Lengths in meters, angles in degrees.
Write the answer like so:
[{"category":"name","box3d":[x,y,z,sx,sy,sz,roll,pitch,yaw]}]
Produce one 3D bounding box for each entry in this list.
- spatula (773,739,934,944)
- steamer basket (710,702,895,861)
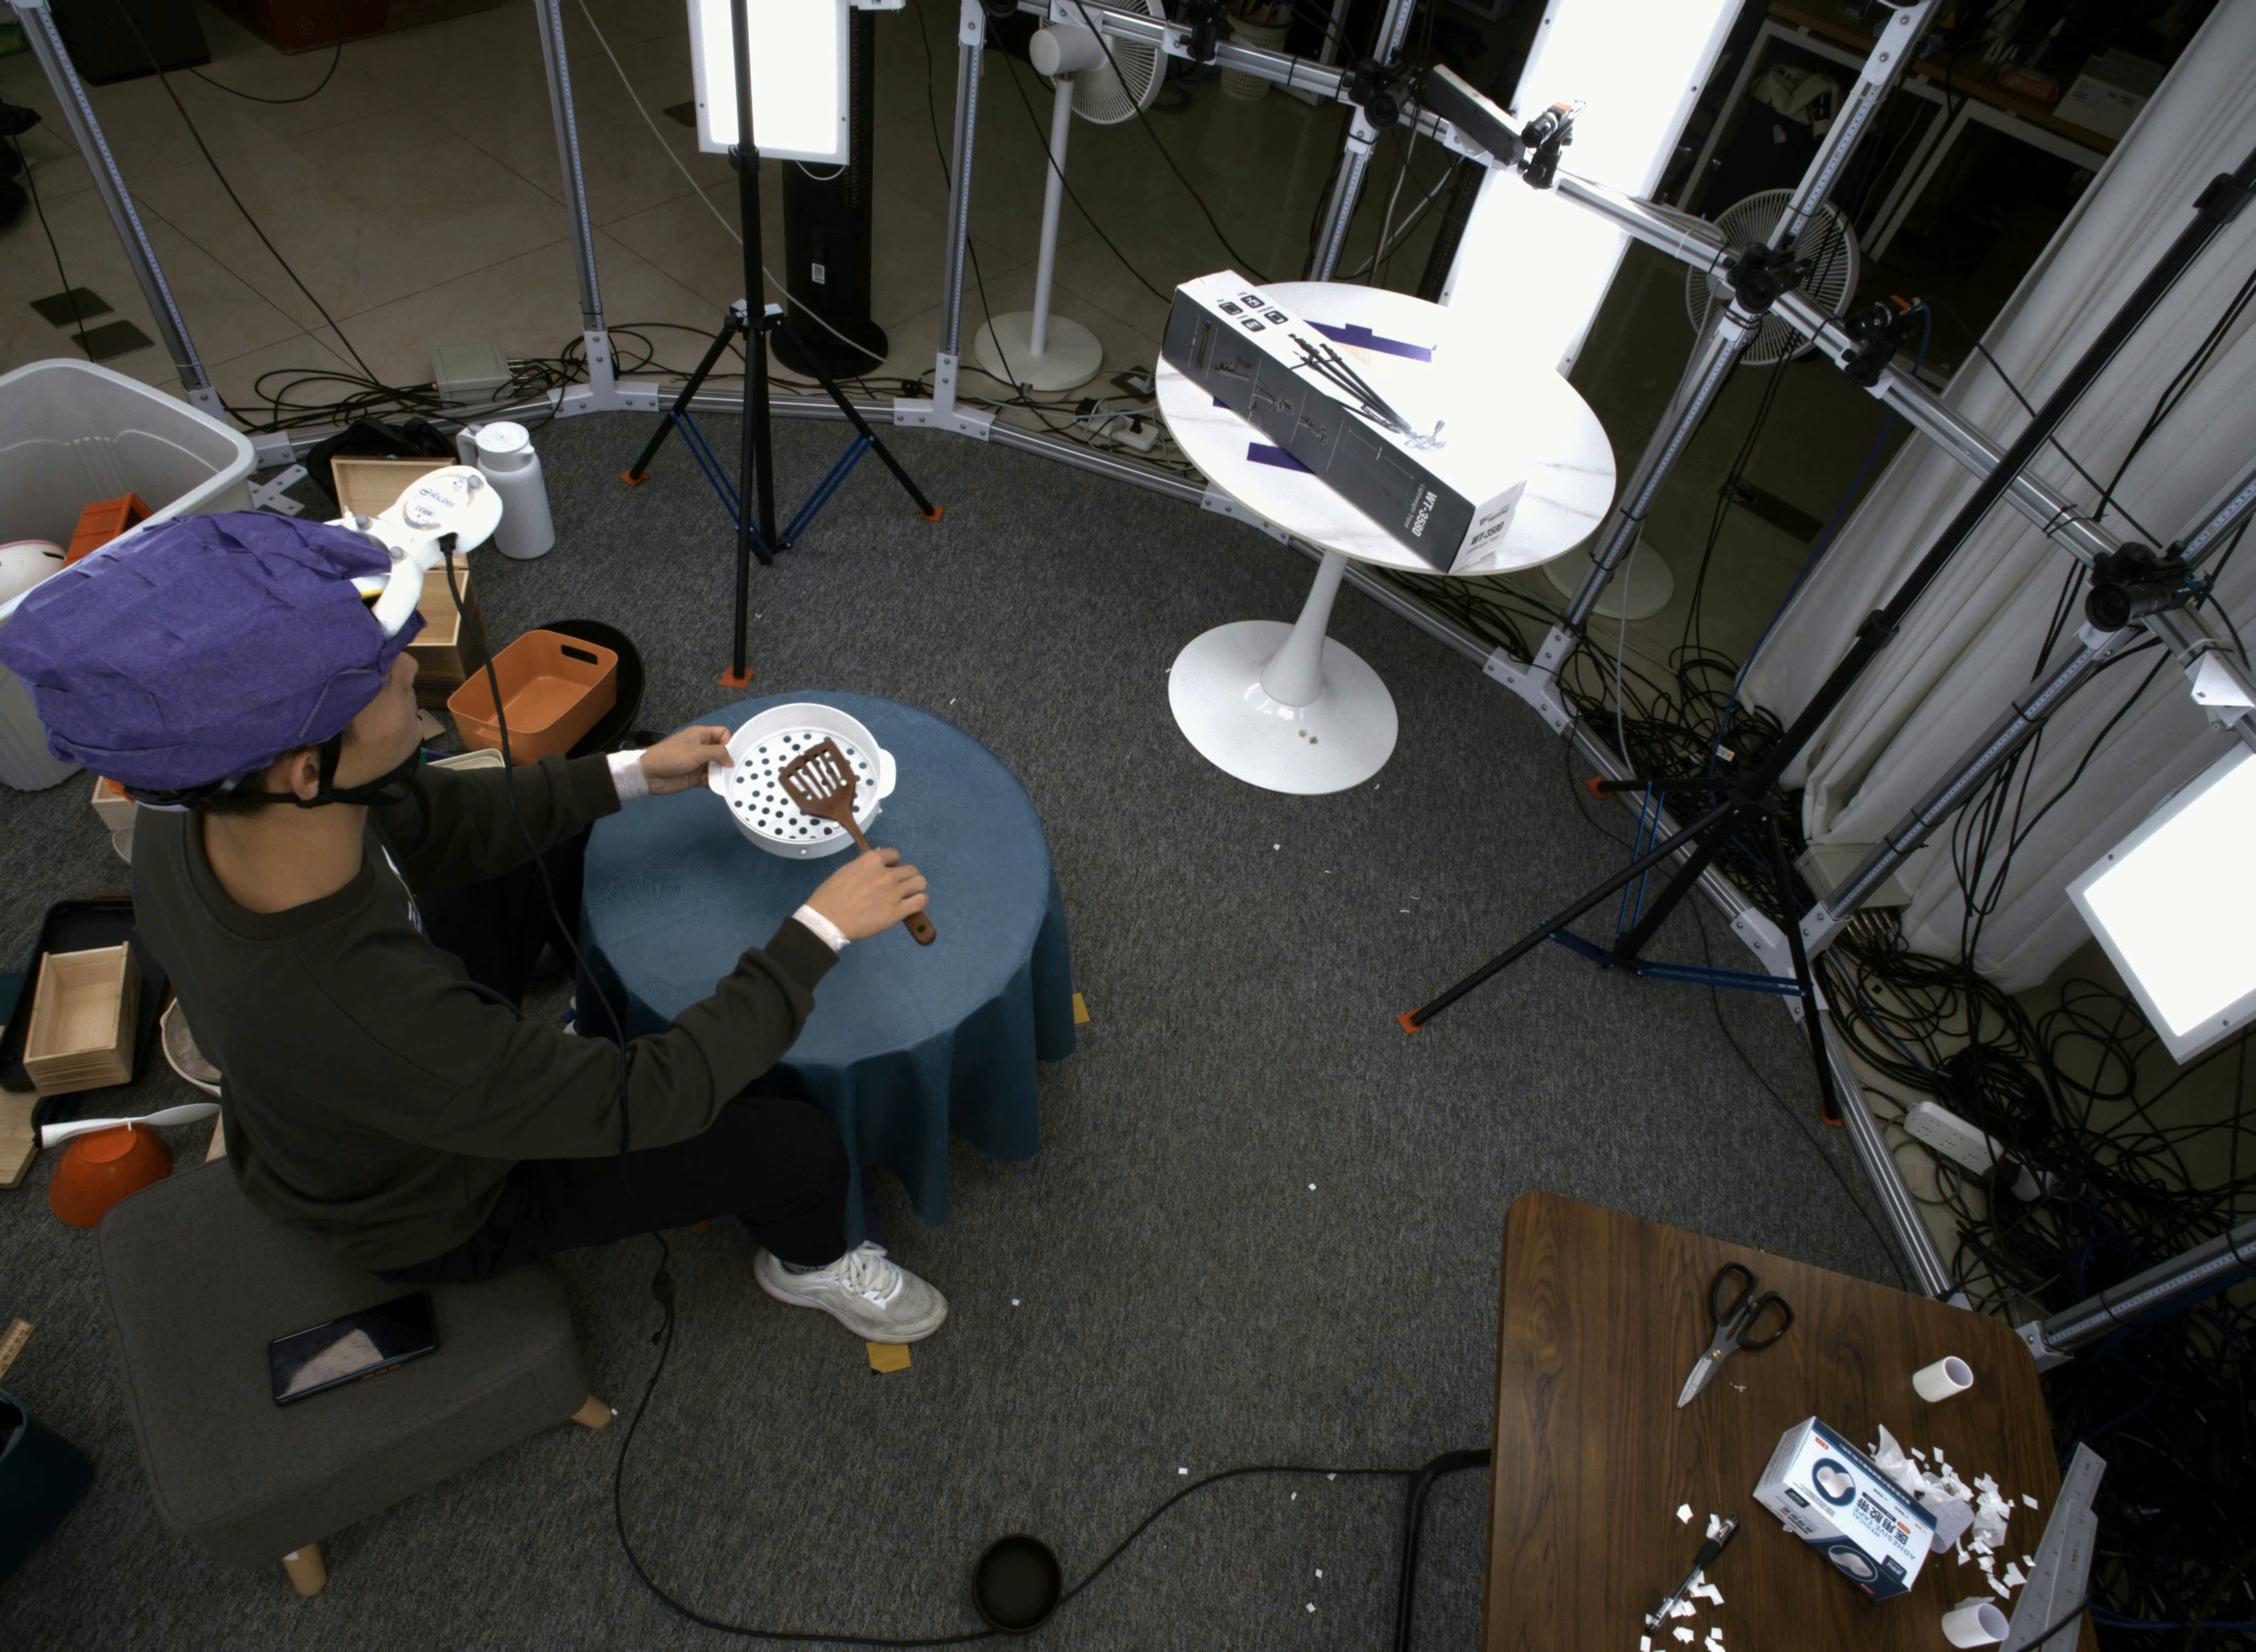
[{"category":"spatula","box3d":[-0.310,0.016,1.497,0.086,0.024,0.371,-35,49,-11]},{"category":"steamer basket","box3d":[-0.412,-0.057,1.654,0.230,0.070,0.199,-1,64,-10]}]
